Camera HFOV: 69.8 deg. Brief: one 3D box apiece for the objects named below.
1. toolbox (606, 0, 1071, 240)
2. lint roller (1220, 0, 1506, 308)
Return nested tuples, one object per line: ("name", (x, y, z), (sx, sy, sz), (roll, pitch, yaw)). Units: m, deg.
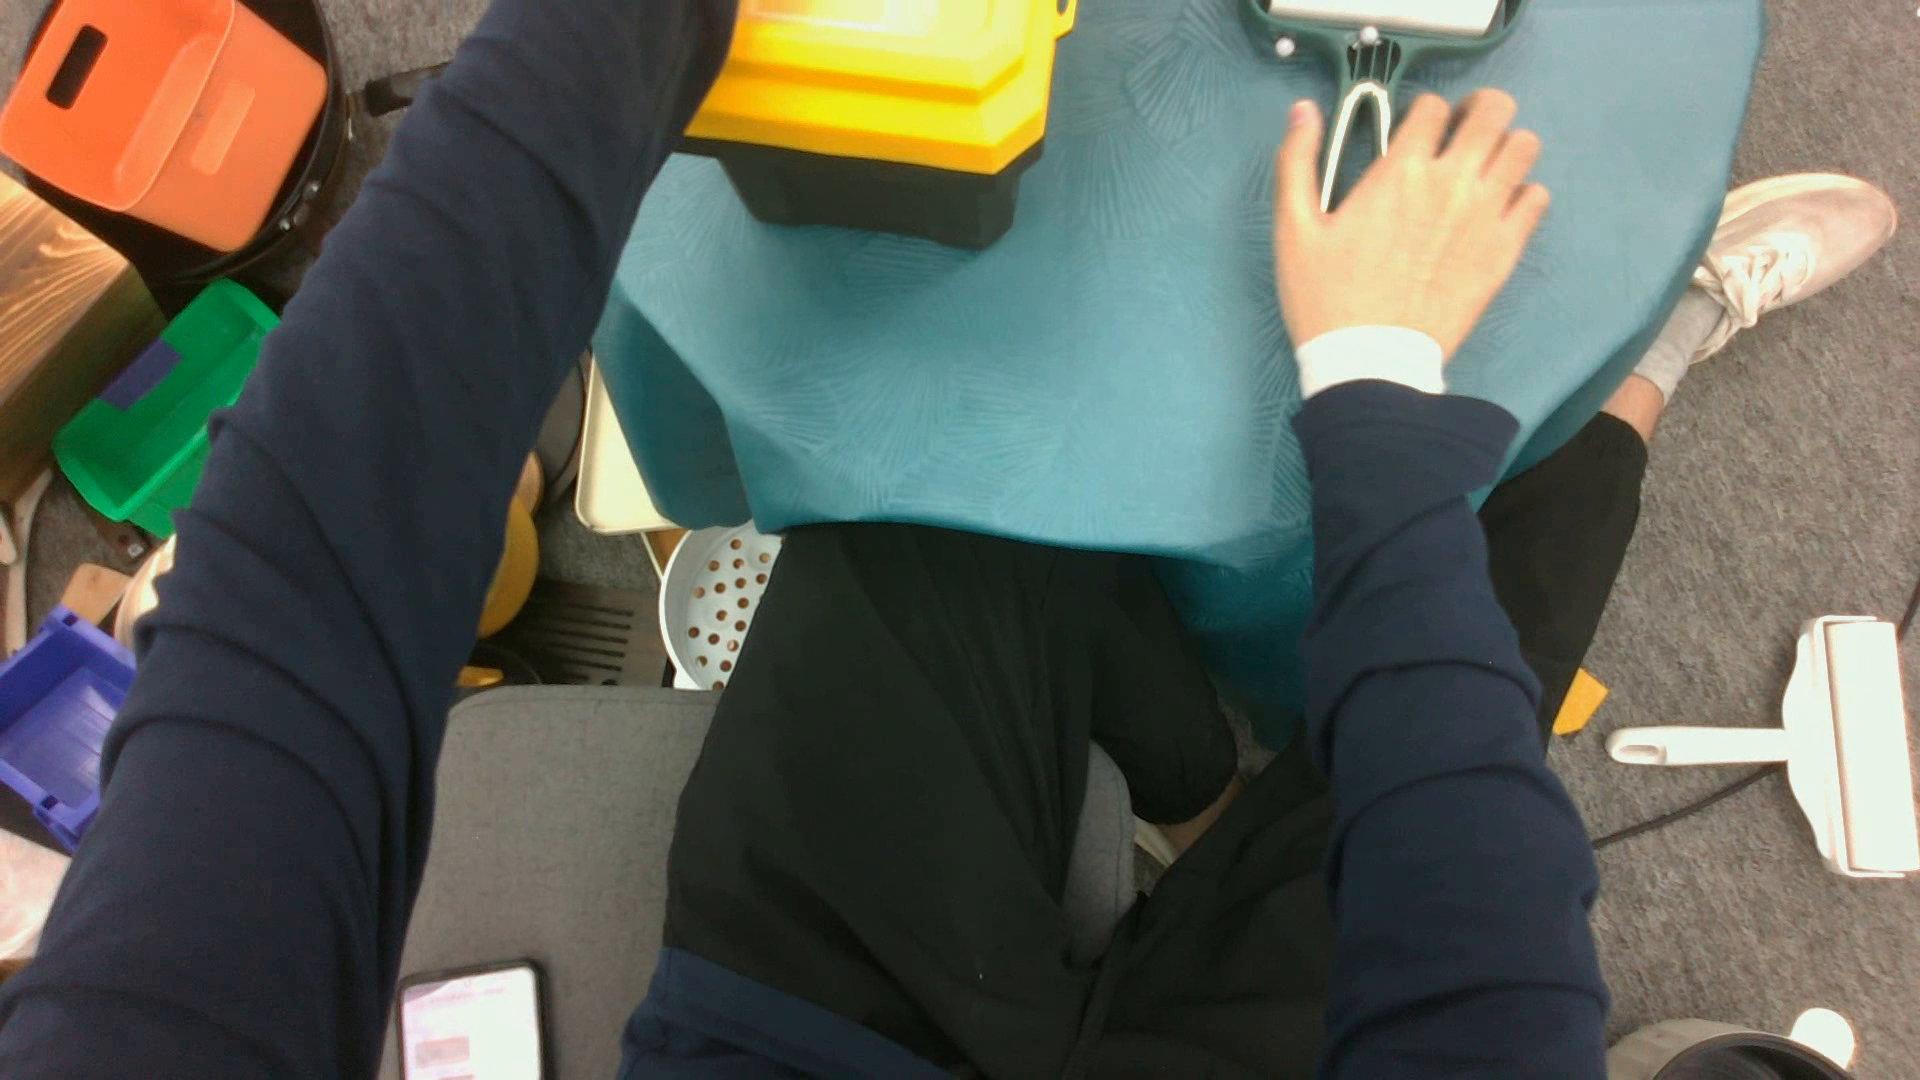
("toolbox", (-0.029, -0.316, 0.602), (0.181, 0.172, 0.352), (8, 80, 4))
("lint roller", (0.179, -0.201, 0.641), (0.134, 0.048, 0.180), (7, 83, 3))
